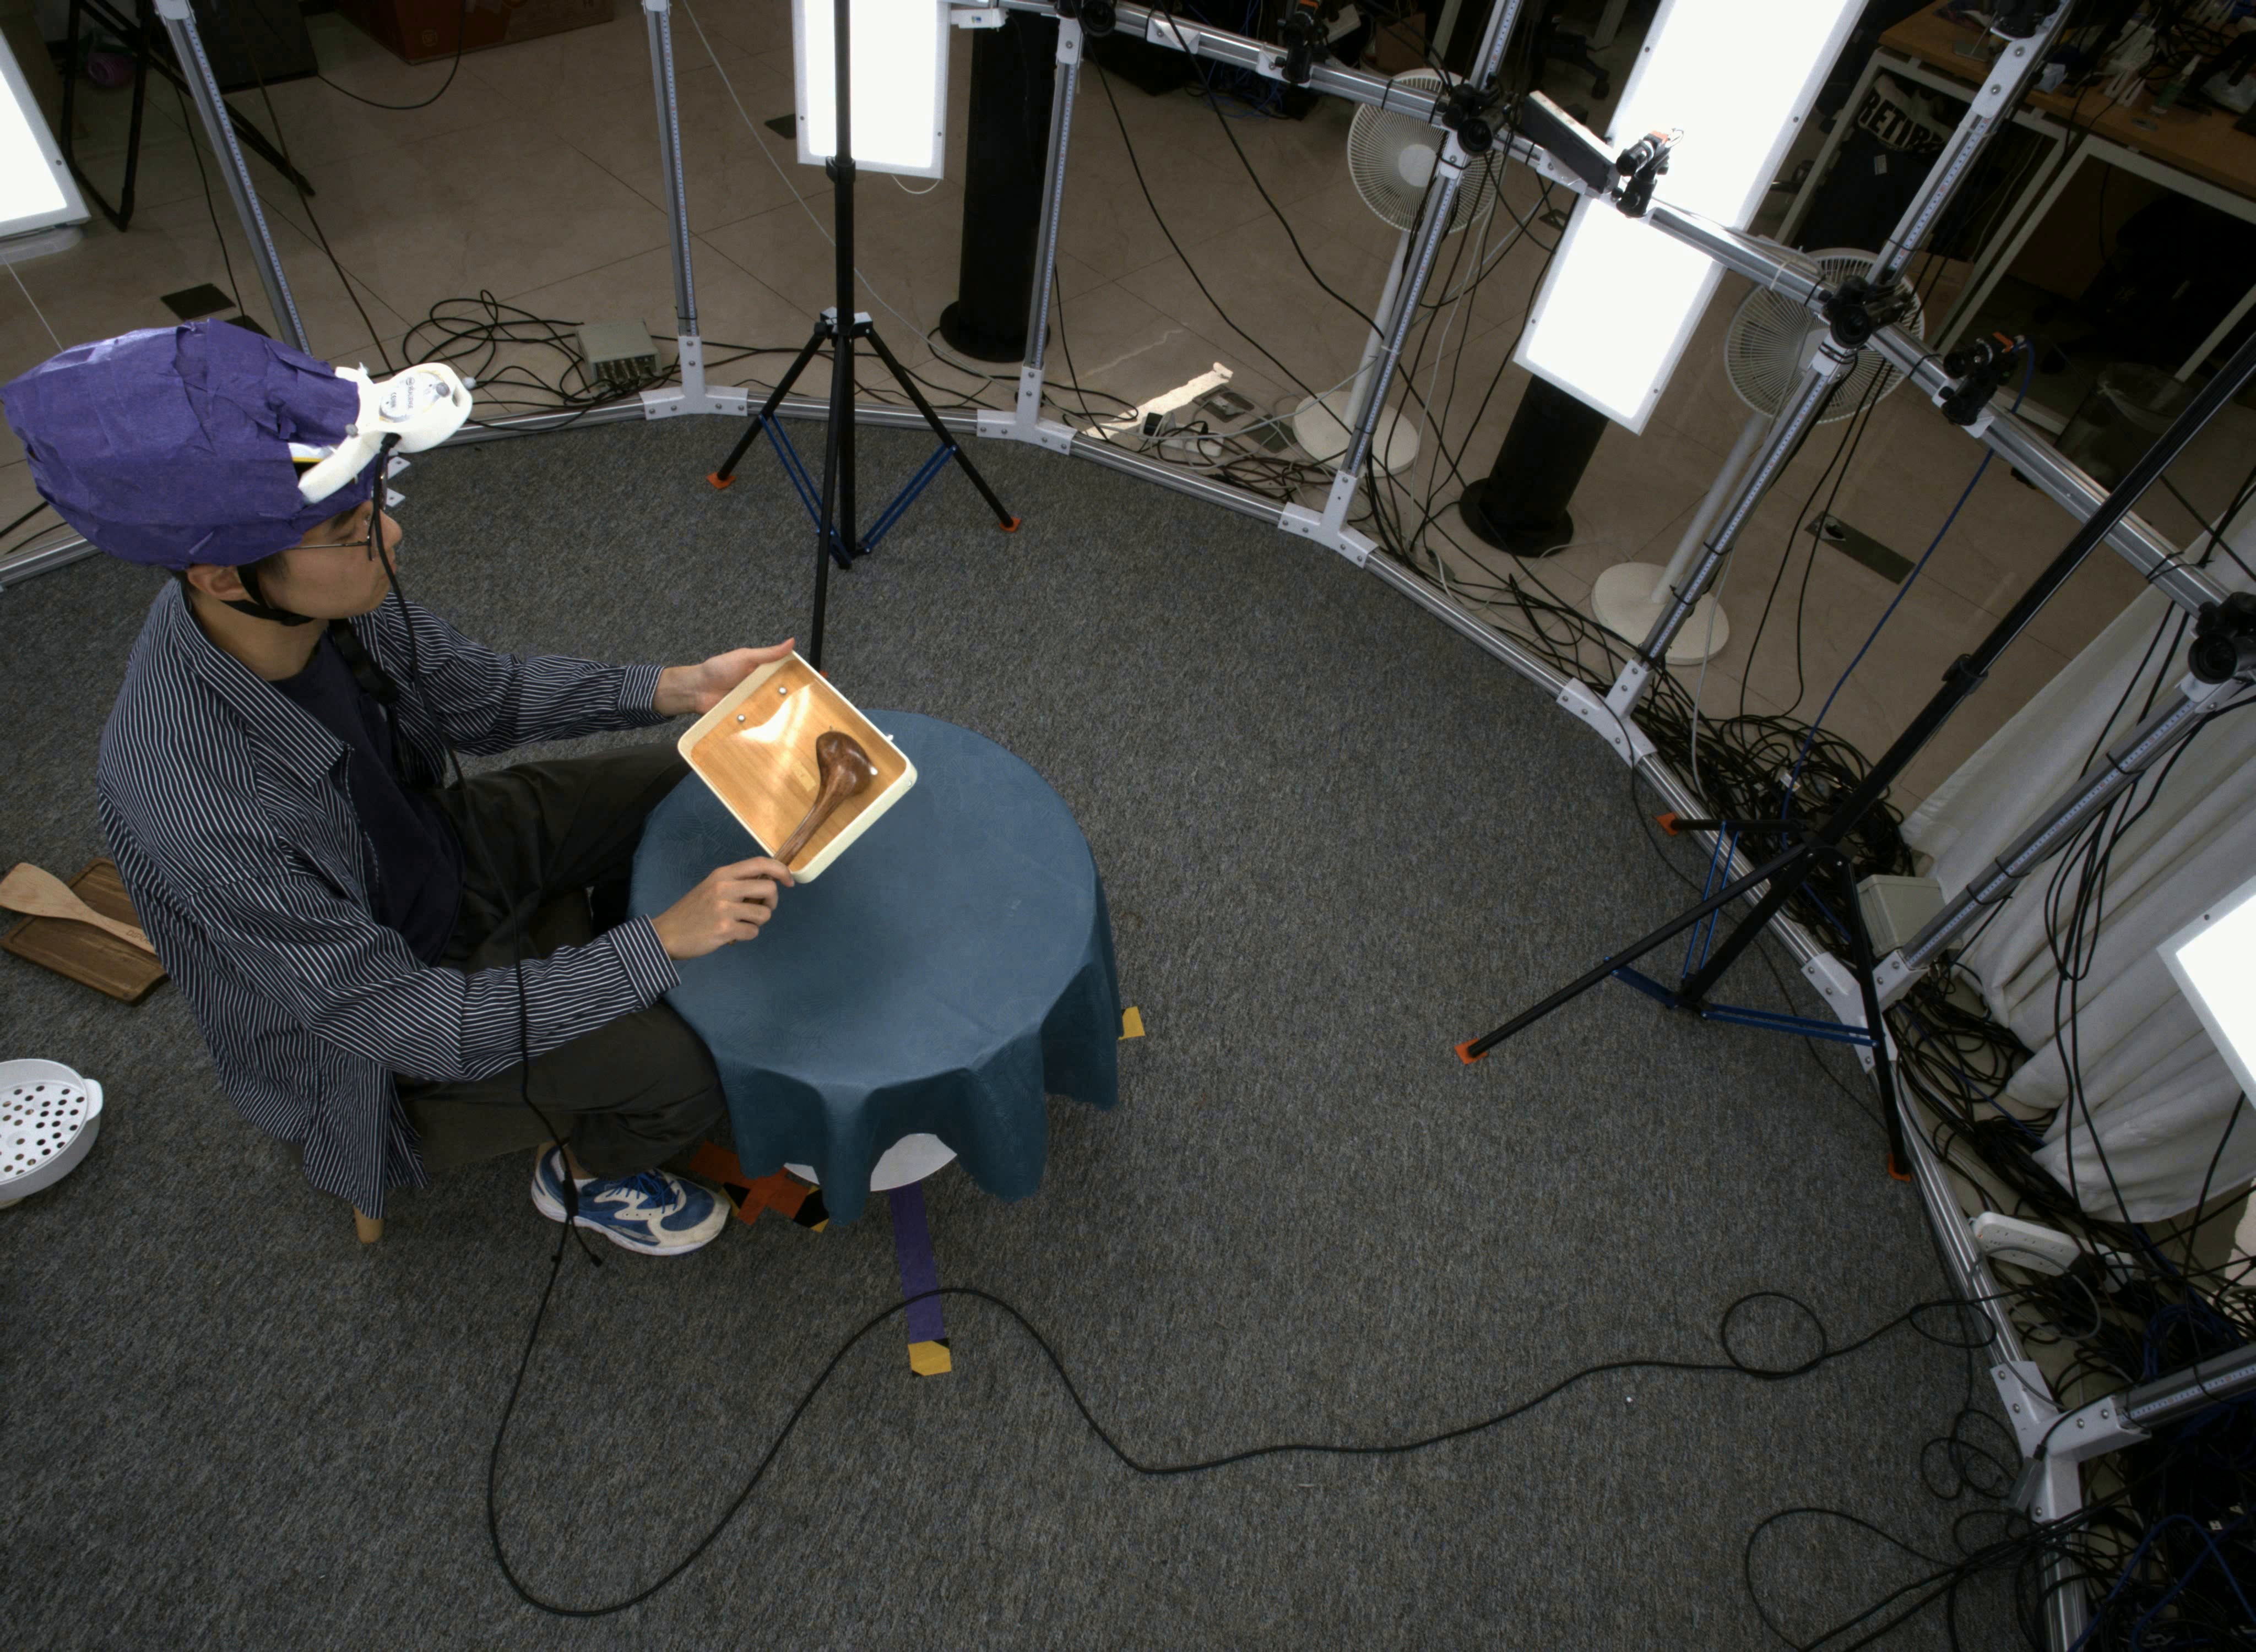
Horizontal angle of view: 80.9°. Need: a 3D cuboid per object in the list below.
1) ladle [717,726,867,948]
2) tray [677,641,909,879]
[{"bbox_3d":[-0.387,0.008,1.454,0.084,0.074,0.274,41,74,-32],"label":"ladle"},{"bbox_3d":[-0.408,-0.086,1.555,0.191,0.028,0.290,-44,59,-7],"label":"tray"}]
